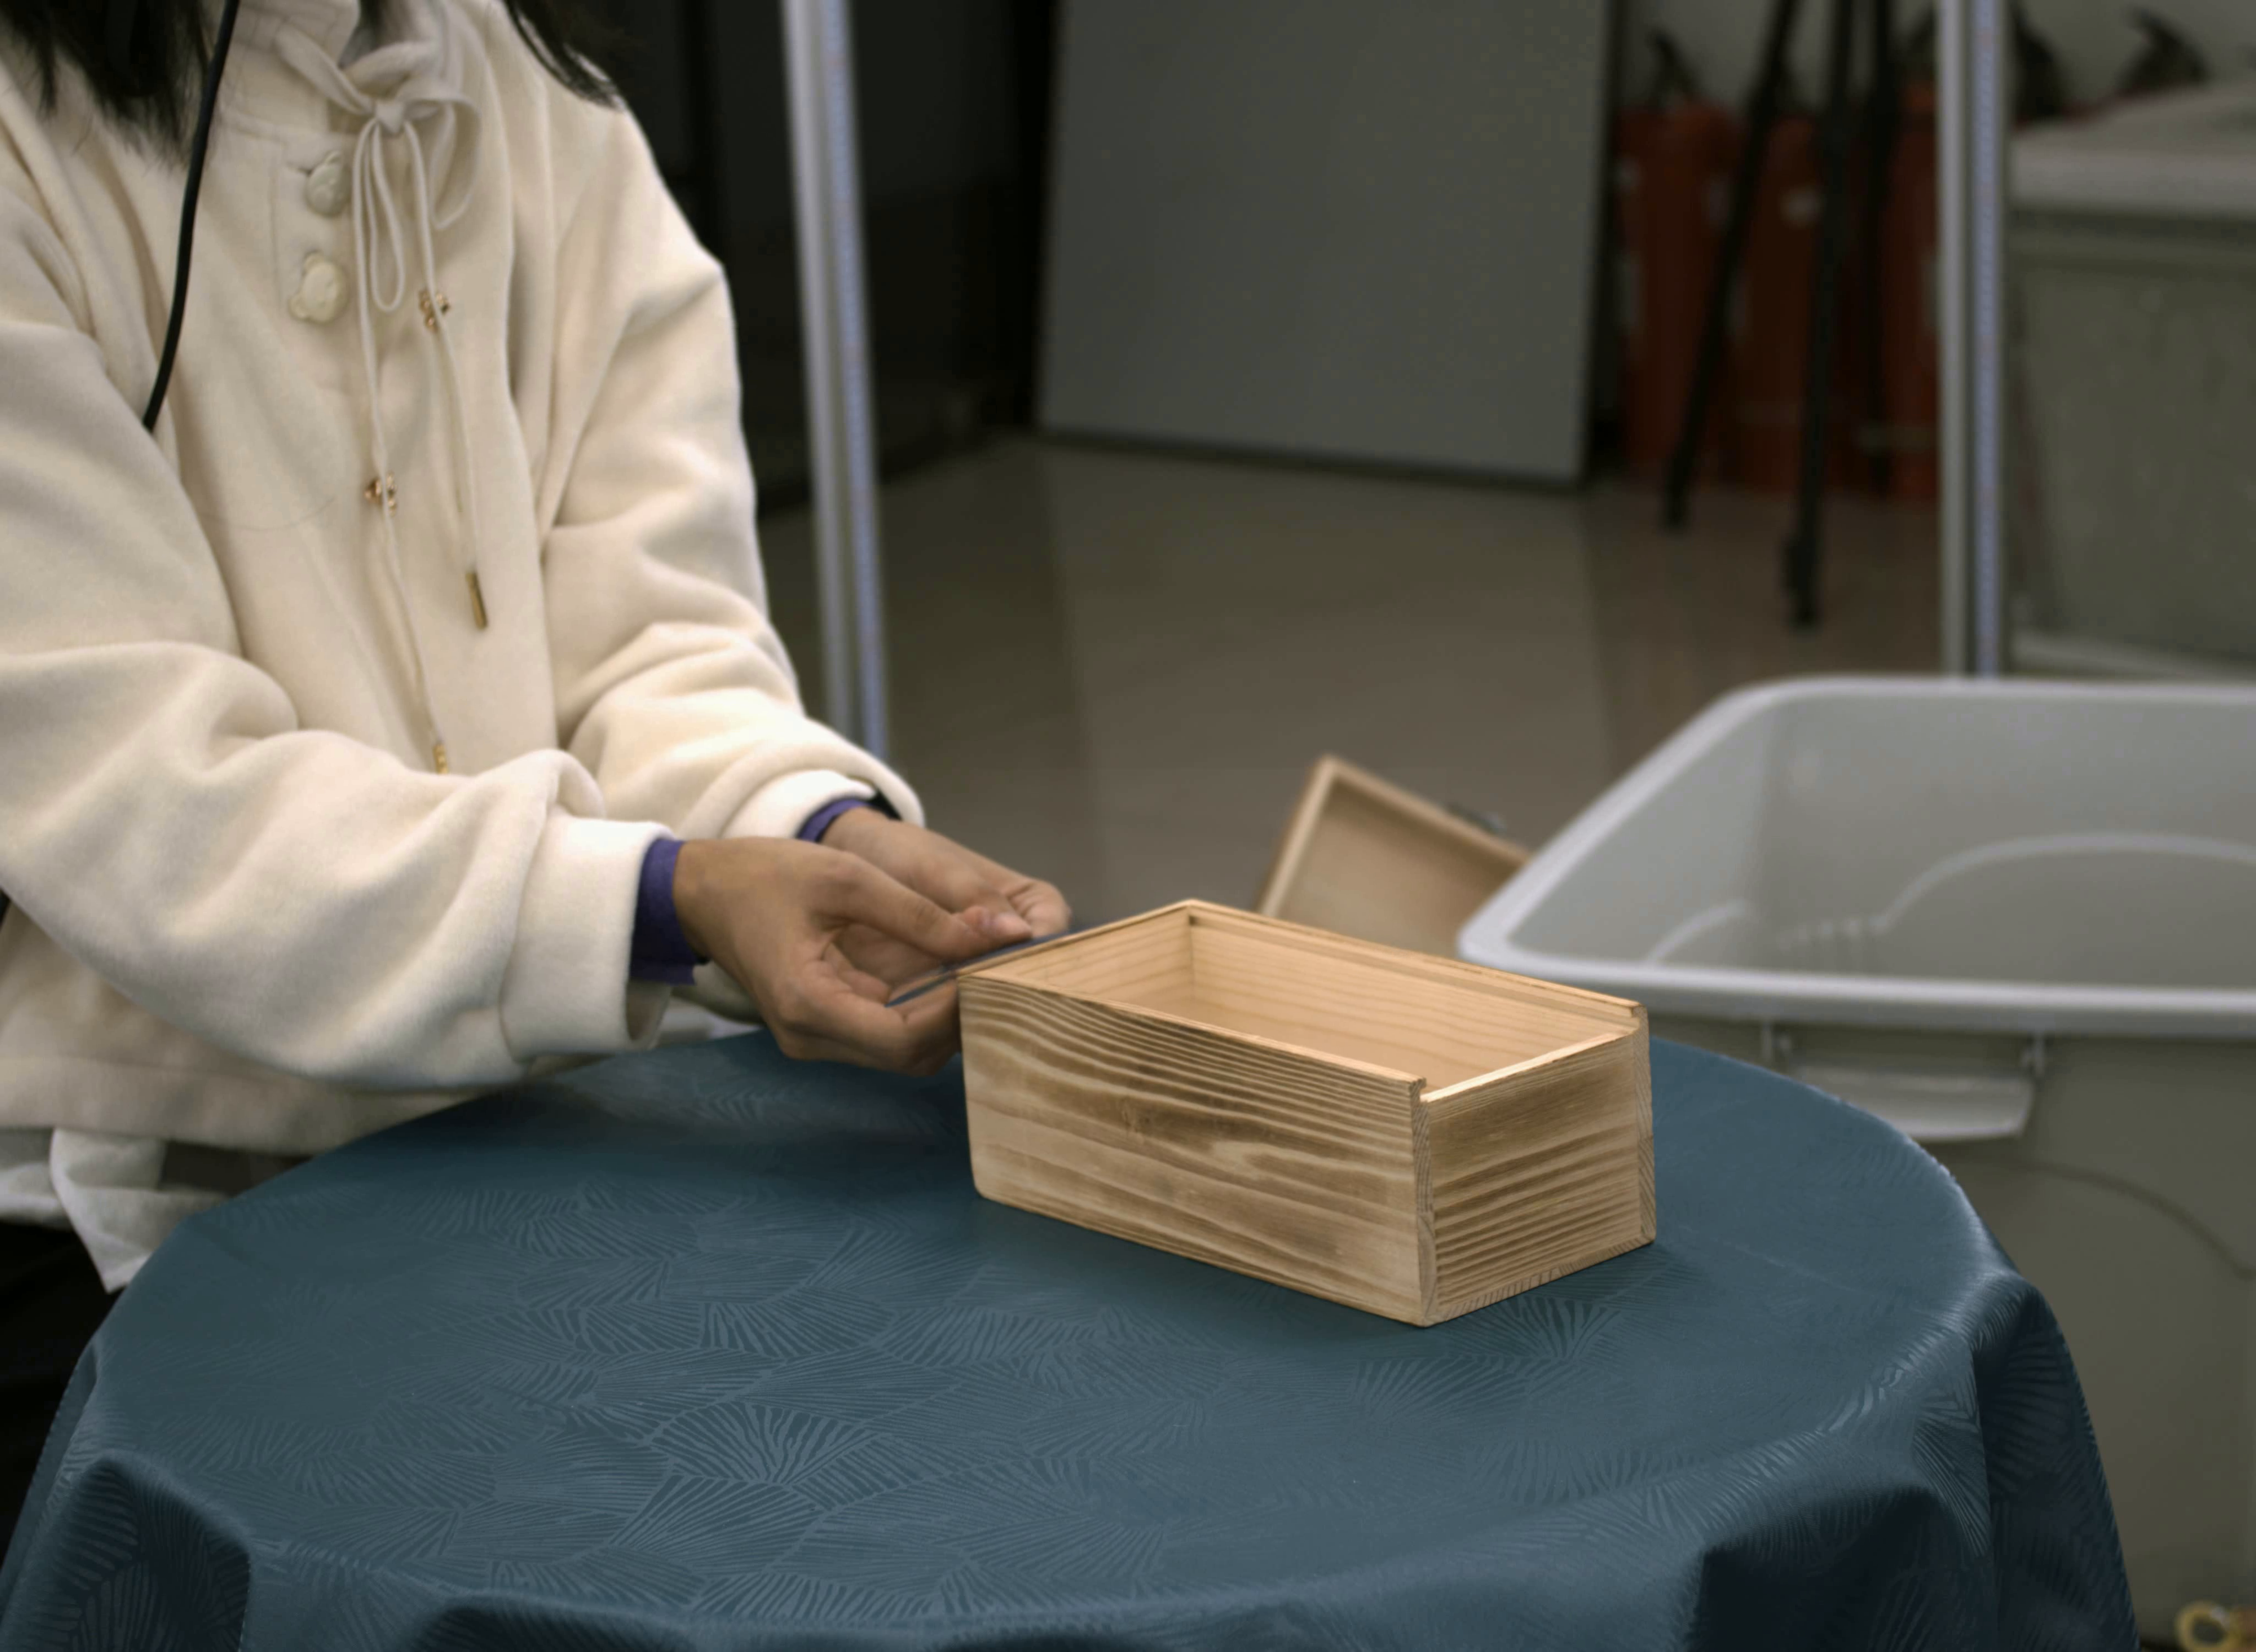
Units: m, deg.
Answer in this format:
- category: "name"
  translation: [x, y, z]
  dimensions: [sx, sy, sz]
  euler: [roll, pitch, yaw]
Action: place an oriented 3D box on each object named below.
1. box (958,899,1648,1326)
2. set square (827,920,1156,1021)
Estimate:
- category: "box"
  translation: [0.054, 0.088, 1.721]
  dimensions: [0.105, 0.081, 0.213]
  euler: [-15, 17, -40]
- category: "set square"
  translation: [-0.056, 0.048, 1.806]
  dimensions: [0.129, 0.006, 0.062]
  euler: [-17, 7, -34]
